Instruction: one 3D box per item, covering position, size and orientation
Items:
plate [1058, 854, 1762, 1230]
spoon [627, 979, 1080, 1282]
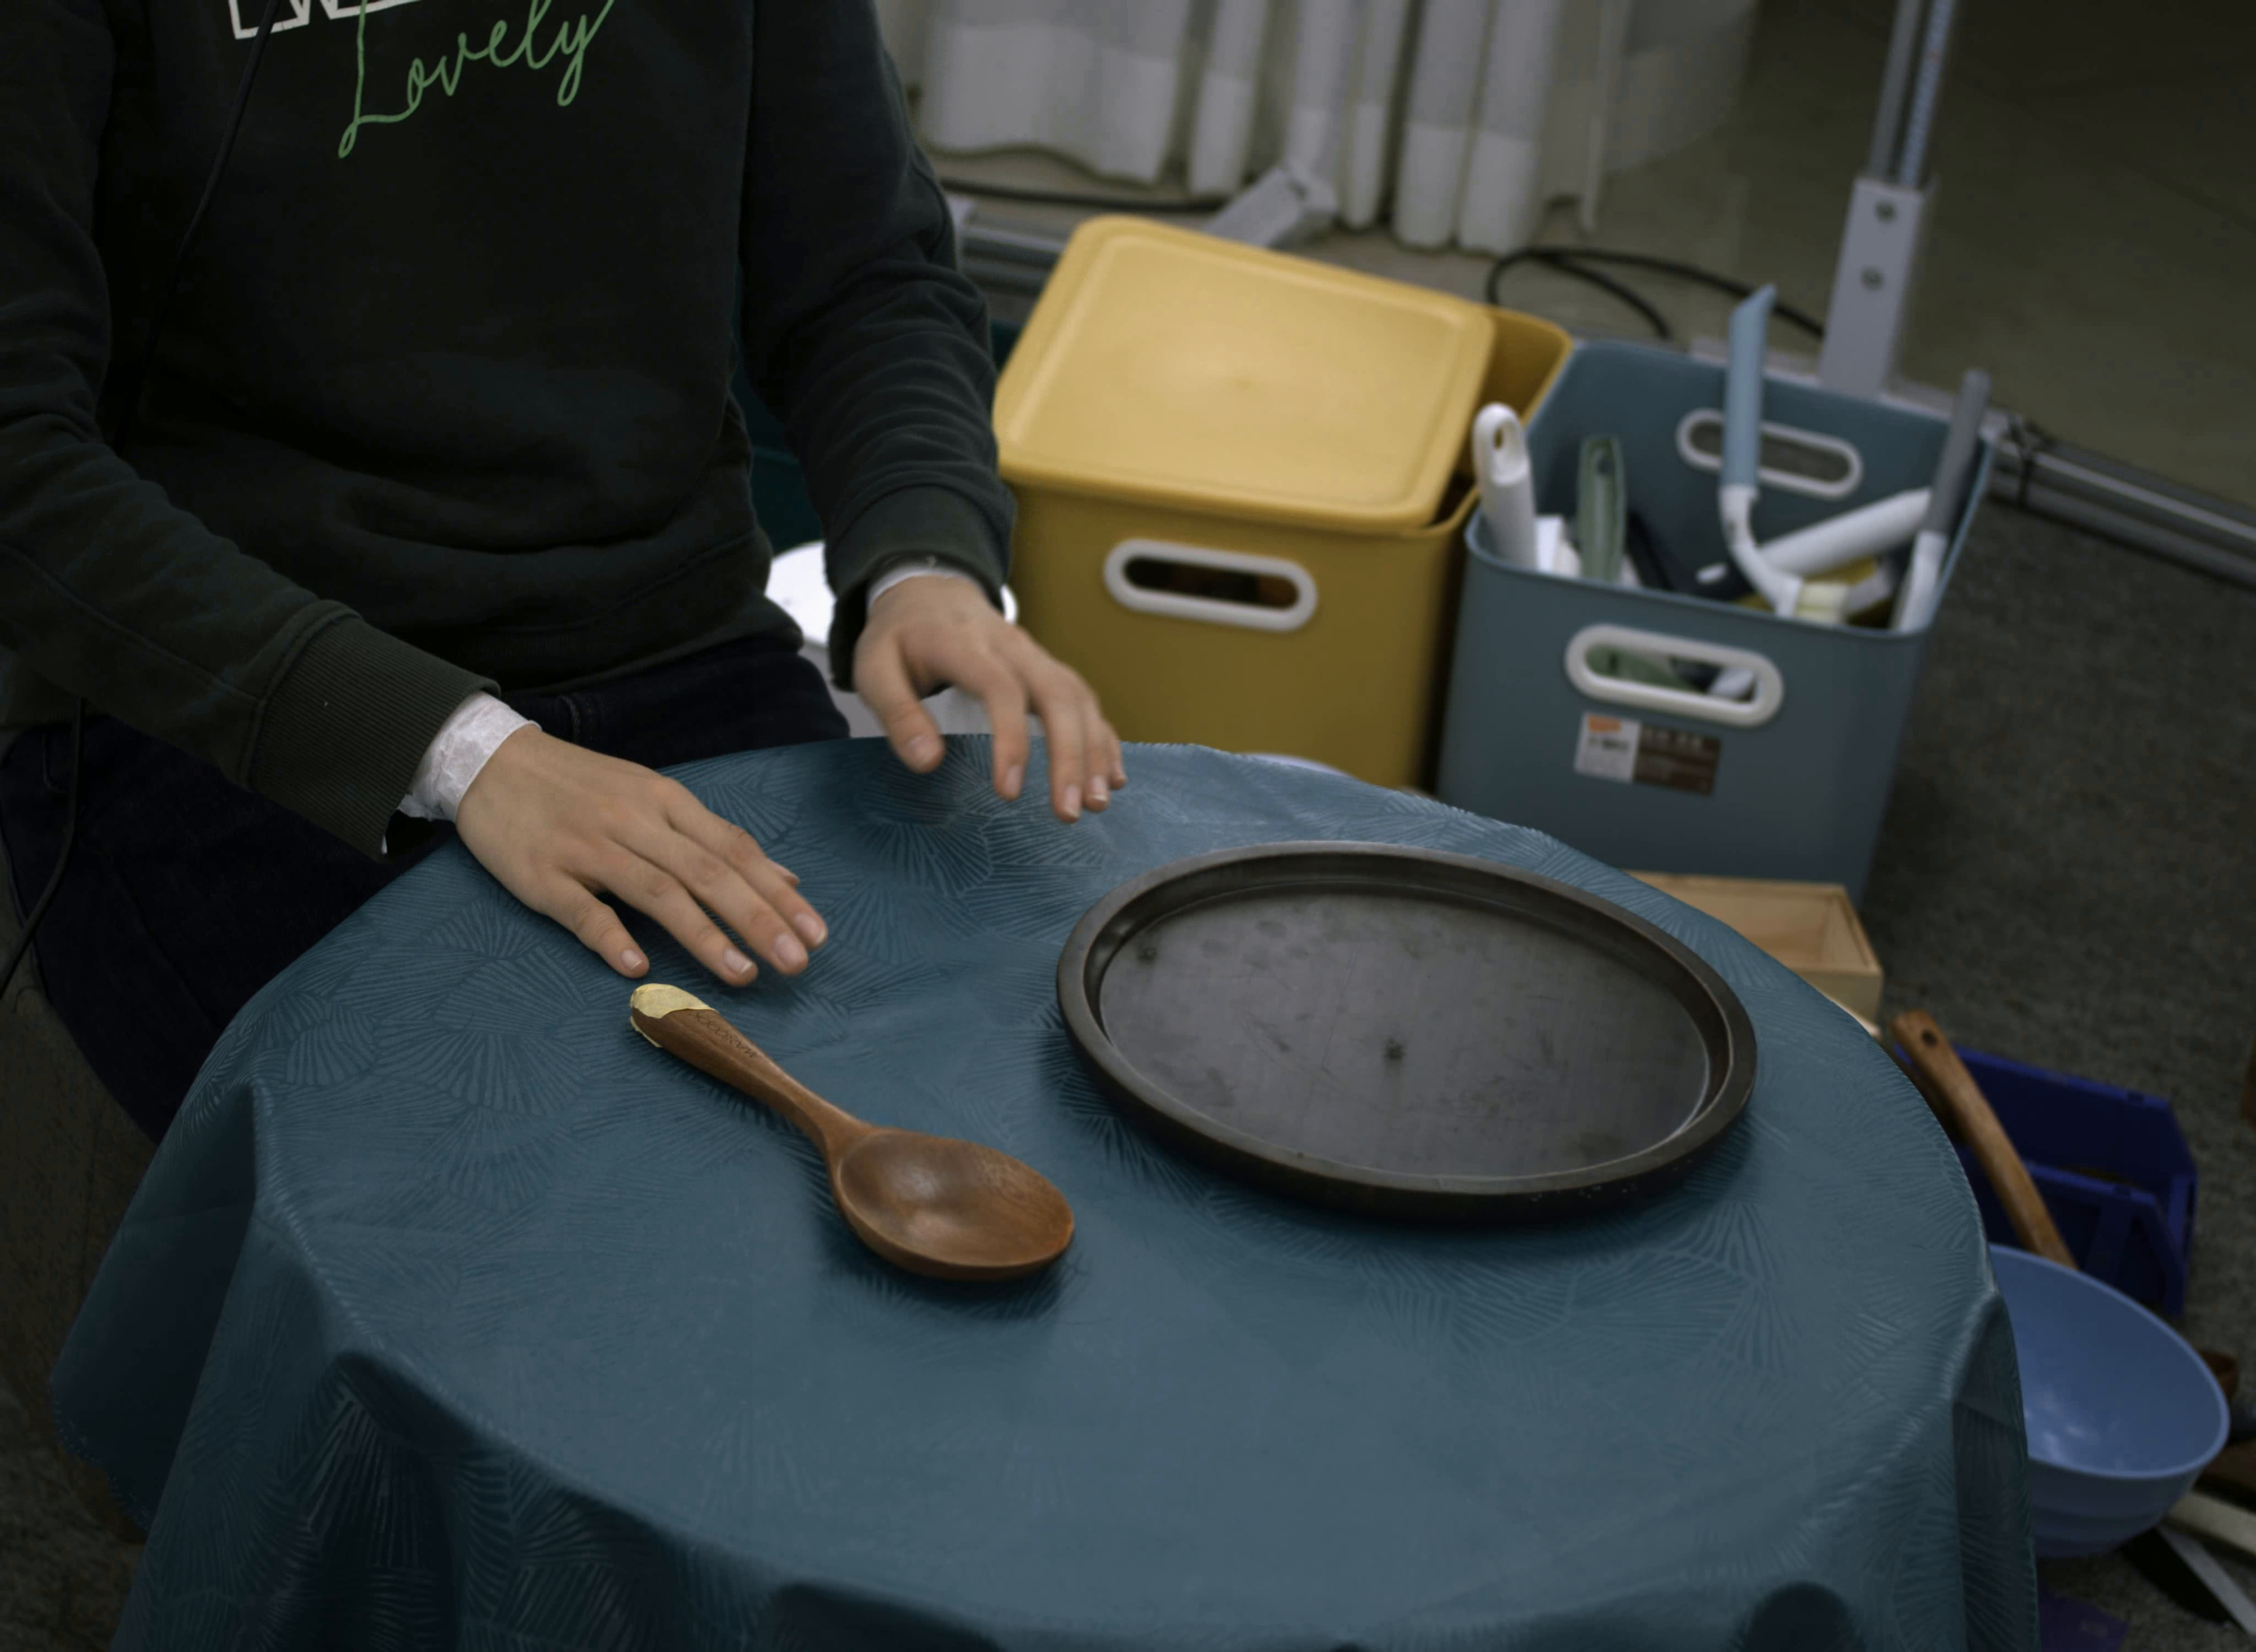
[{"bbox_3d":[0.099,0.075,1.896,0.254,0.029,0.256,6,27,-4],"label":"plate"},{"bbox_3d":[-0.099,0.103,1.799,0.075,0.017,0.217,-17,35,-38],"label":"spoon"}]
